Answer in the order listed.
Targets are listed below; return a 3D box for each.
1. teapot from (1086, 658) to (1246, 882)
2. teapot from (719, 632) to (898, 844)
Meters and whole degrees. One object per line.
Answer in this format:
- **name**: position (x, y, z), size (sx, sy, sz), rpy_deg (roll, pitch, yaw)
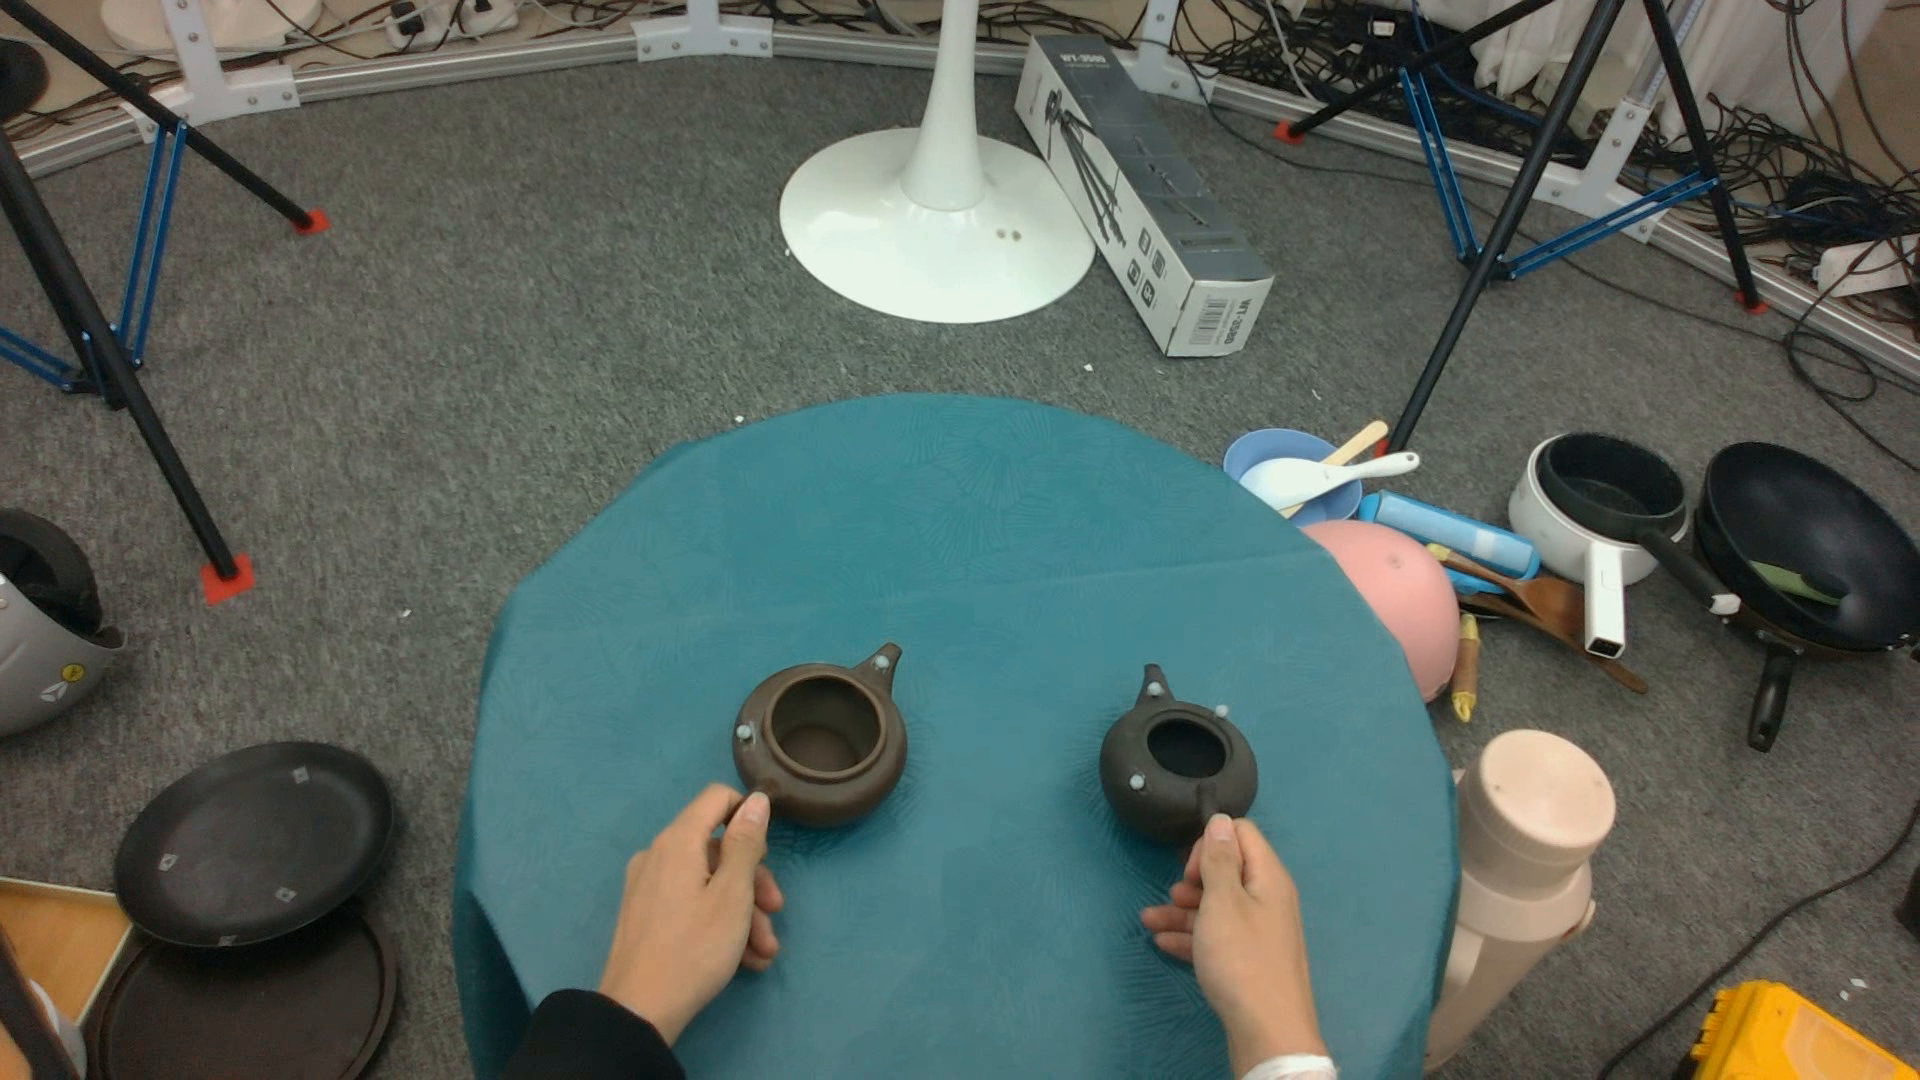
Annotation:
- **teapot**: position (0.120, 0.134, 0.803), size (0.092, 0.064, 0.155), rpy_deg (0, 38, -13)
- **teapot**: position (-0.089, 0.116, 0.796), size (0.102, 0.053, 0.154), rpy_deg (29, 49, 9)
